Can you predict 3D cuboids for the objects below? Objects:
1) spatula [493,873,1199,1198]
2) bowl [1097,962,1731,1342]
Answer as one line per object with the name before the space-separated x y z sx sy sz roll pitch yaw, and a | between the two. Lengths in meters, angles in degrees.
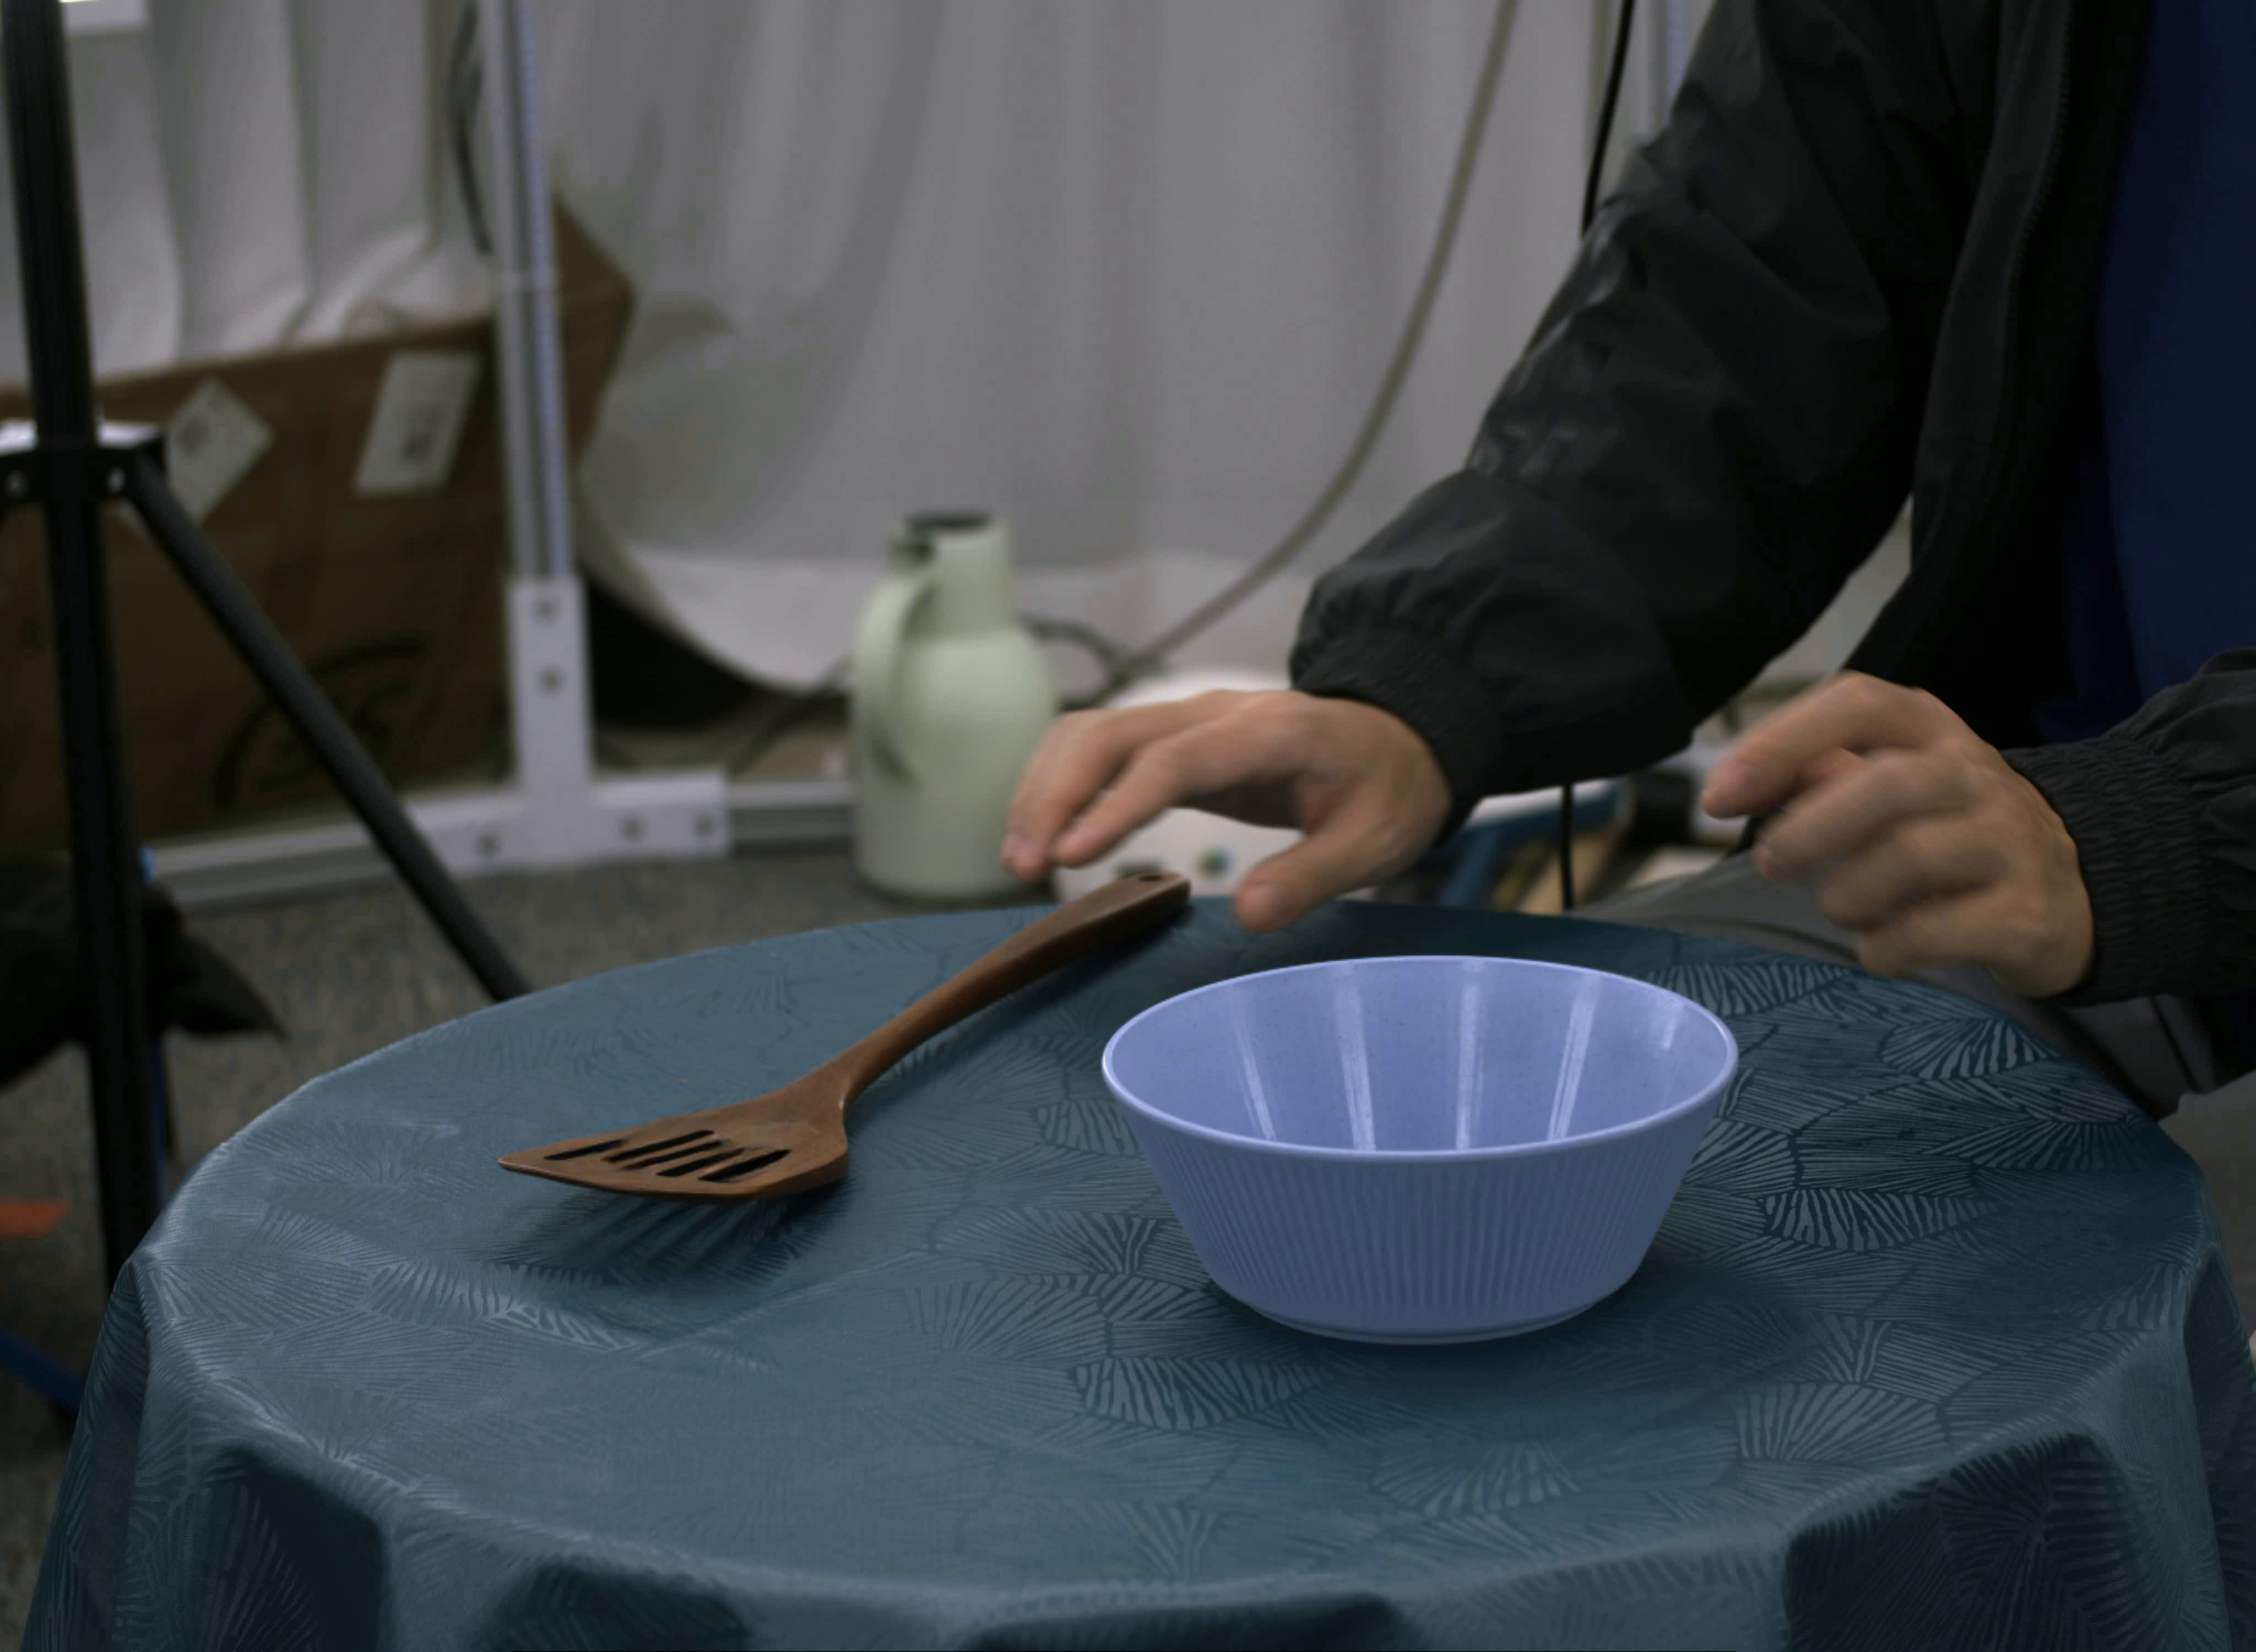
spatula | -0.068 0.066 1.680 0.087 0.024 0.380 6 16 27
bowl | 0.079 0.093 1.471 0.175 0.070 0.177 -2 15 -1
